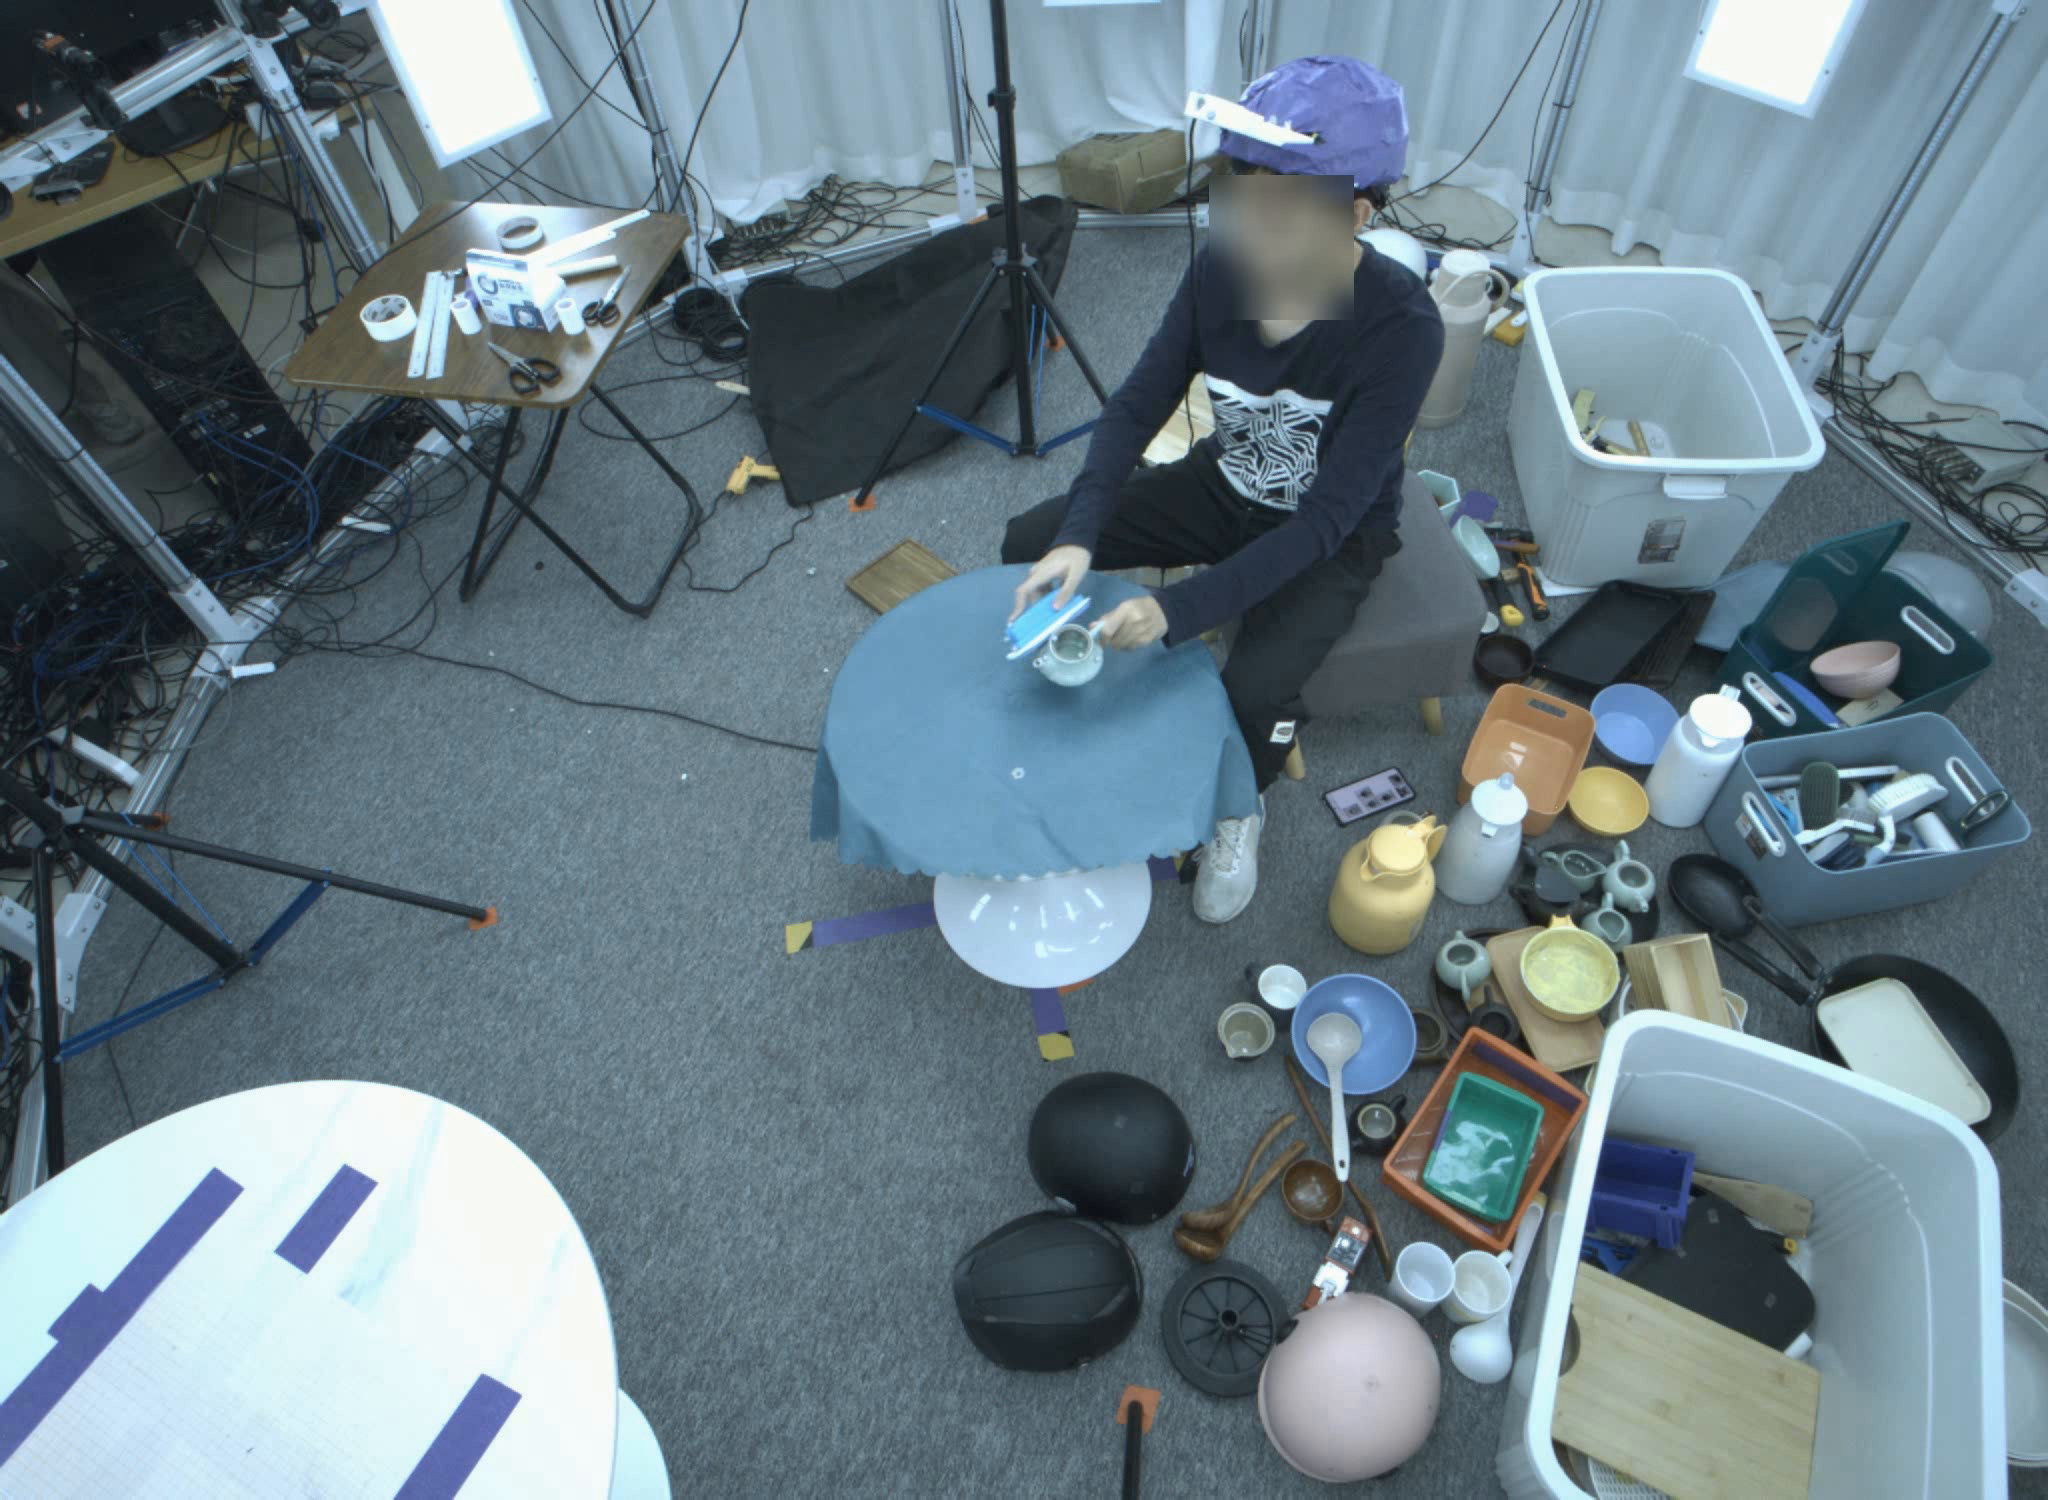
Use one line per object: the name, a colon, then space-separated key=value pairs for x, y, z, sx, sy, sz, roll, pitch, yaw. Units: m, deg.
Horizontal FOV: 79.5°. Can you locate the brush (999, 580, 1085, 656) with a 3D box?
brush: x=0.020 y=-0.197 z=1.783 sx=0.144 sy=0.083 sz=0.056 roll=-42 pitch=102 yaw=-7

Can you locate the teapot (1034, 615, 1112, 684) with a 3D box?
teapot: x=0.070 y=-0.148 z=1.770 sx=0.138 sy=0.062 sz=0.095 roll=-33 pitch=72 yaw=-13
